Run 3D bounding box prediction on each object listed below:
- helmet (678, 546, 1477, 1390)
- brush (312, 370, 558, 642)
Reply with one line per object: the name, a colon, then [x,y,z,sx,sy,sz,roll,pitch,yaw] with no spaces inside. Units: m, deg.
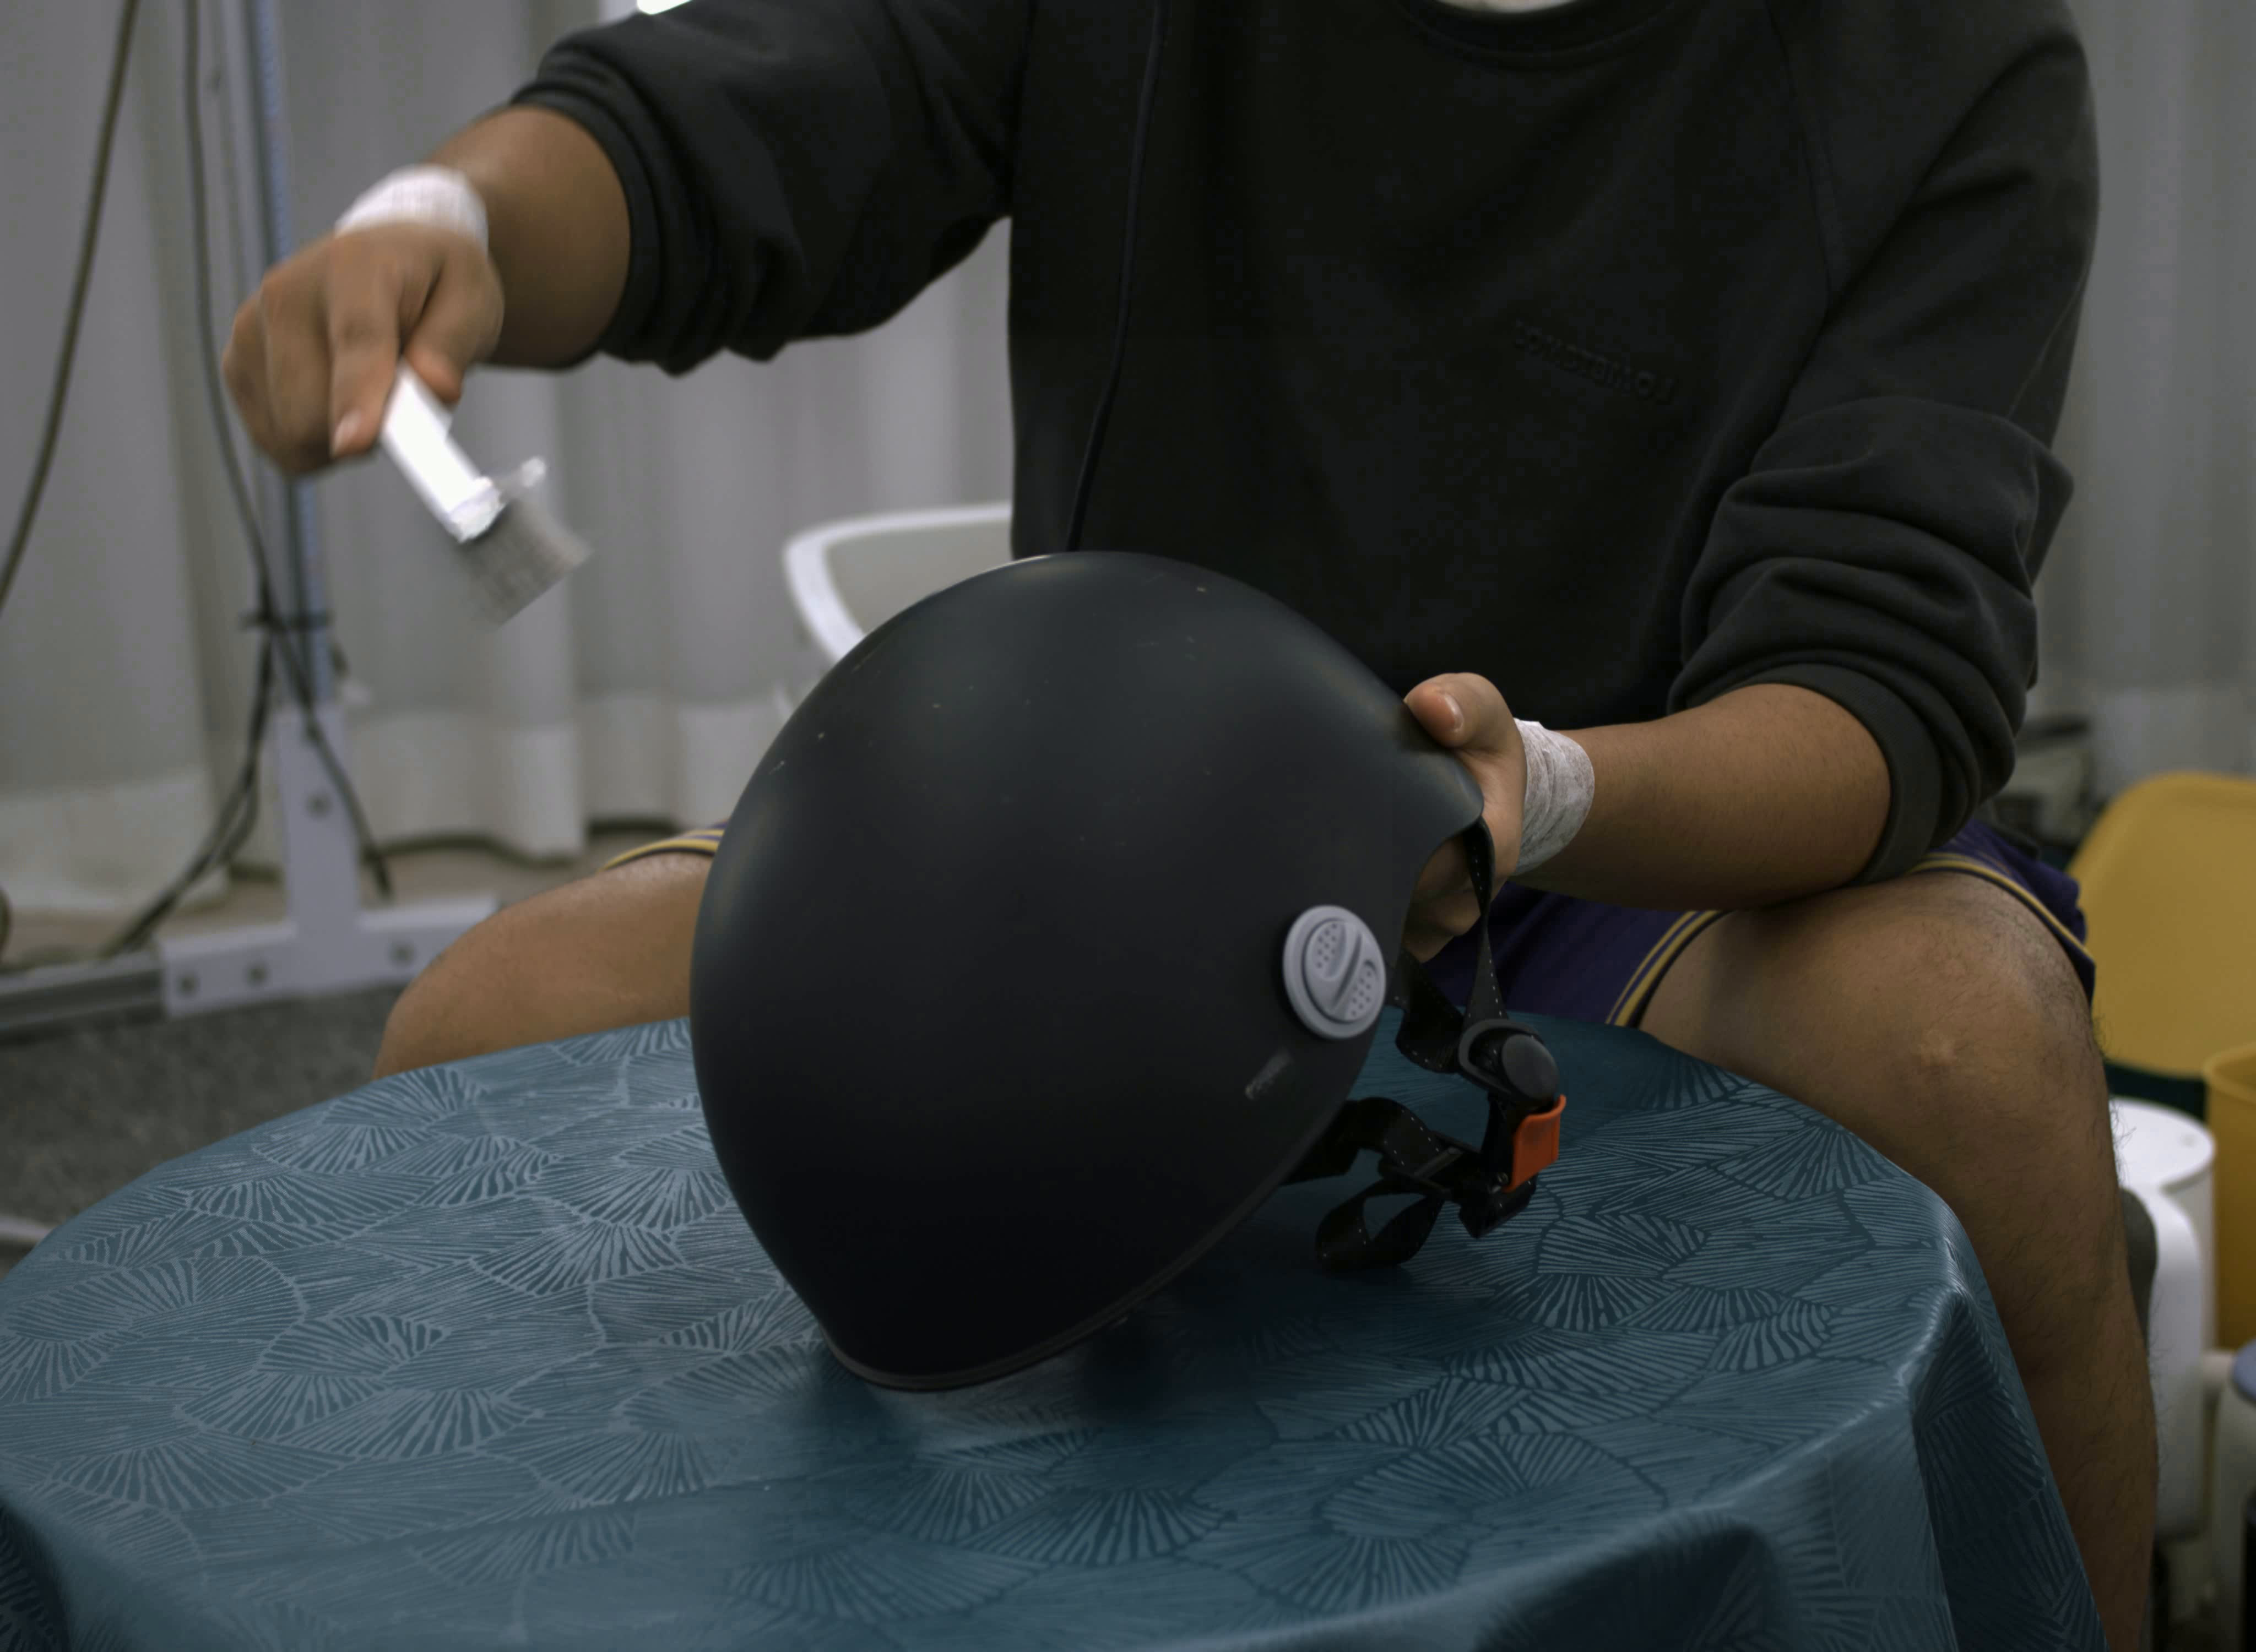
helmet: [-0.032,0.020,1.594,0.229,0.165,0.276,-20,25,39]
brush: [-0.207,-0.095,1.628,0.034,0.050,0.245,-39,20,-3]
